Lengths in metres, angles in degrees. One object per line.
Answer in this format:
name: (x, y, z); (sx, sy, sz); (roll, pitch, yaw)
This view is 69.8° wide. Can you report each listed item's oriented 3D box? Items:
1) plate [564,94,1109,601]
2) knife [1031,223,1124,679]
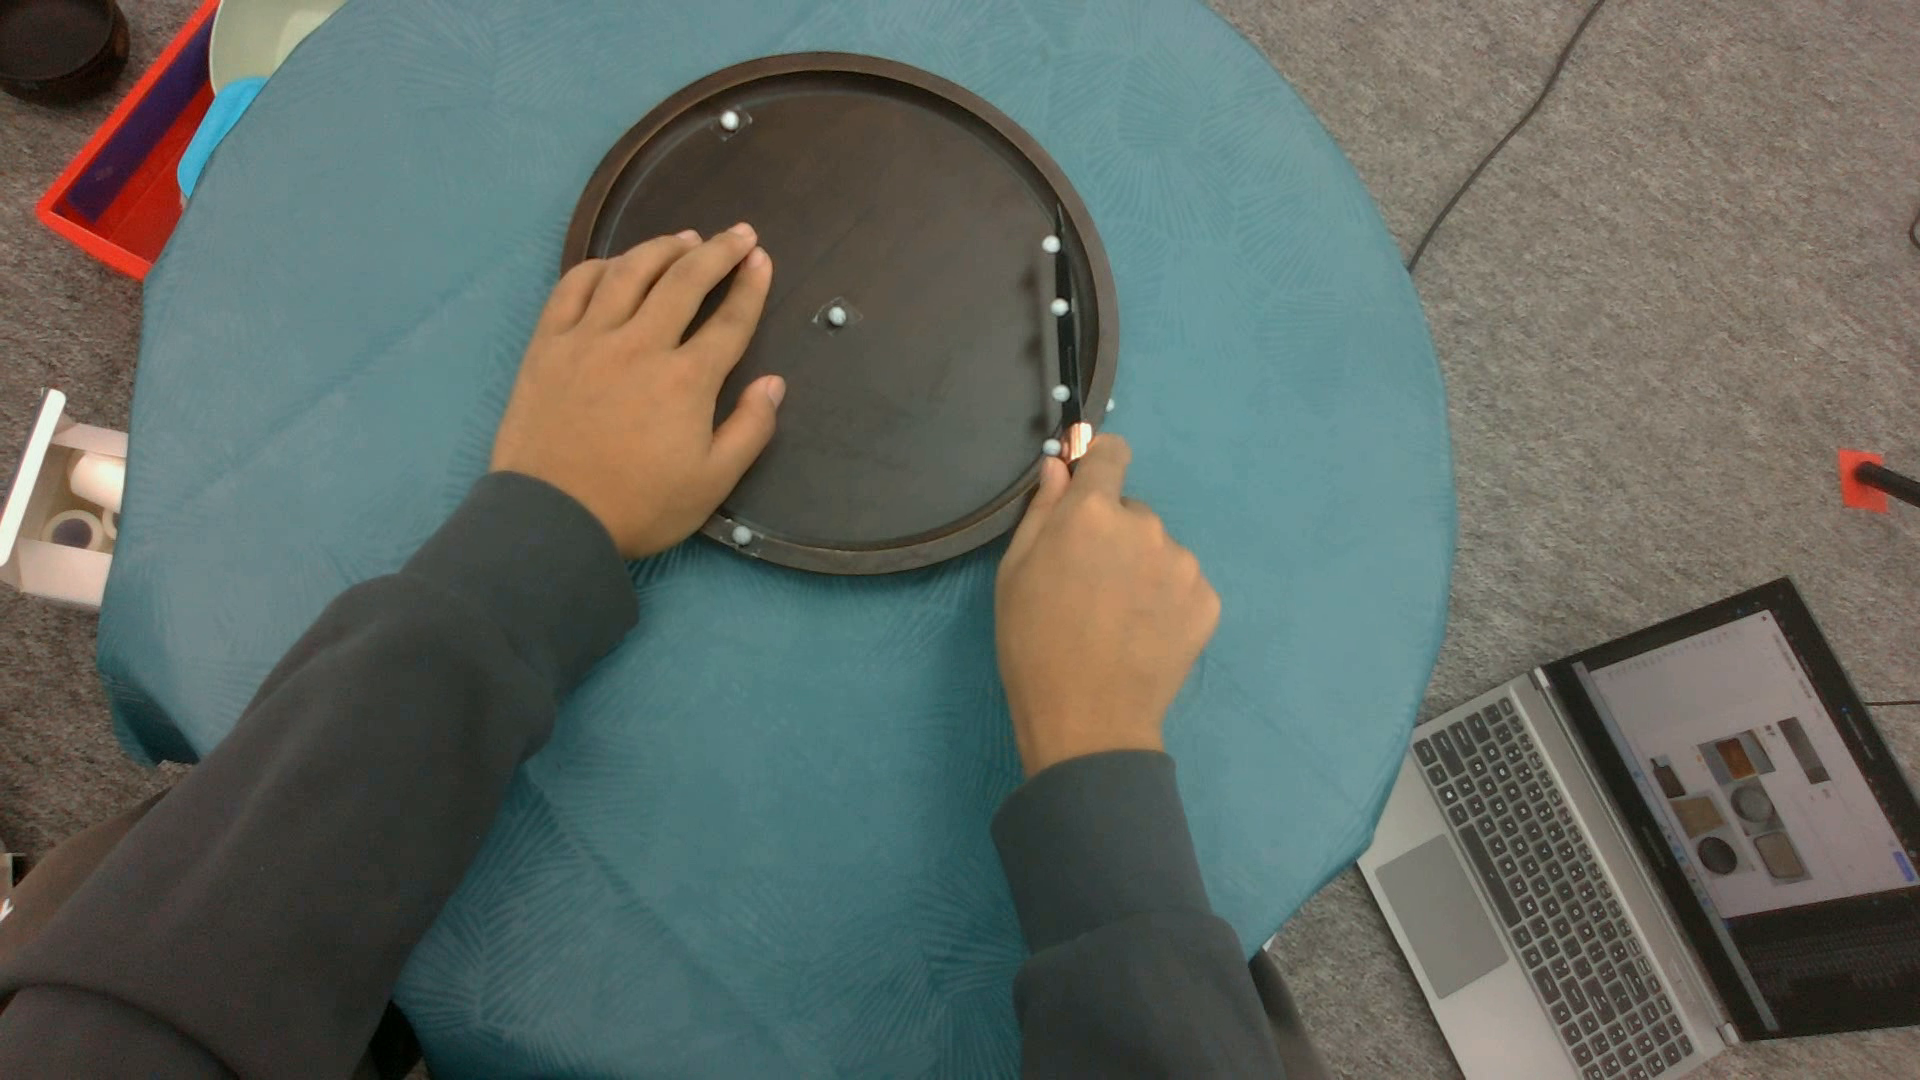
plate: (-0.054, -0.094, 0.646); (0.255, 0.029, 0.255); (3, 75, -10)
knife: (0.051, -0.047, 0.630); (0.017, 0.026, 0.226); (-2, 74, -19)
